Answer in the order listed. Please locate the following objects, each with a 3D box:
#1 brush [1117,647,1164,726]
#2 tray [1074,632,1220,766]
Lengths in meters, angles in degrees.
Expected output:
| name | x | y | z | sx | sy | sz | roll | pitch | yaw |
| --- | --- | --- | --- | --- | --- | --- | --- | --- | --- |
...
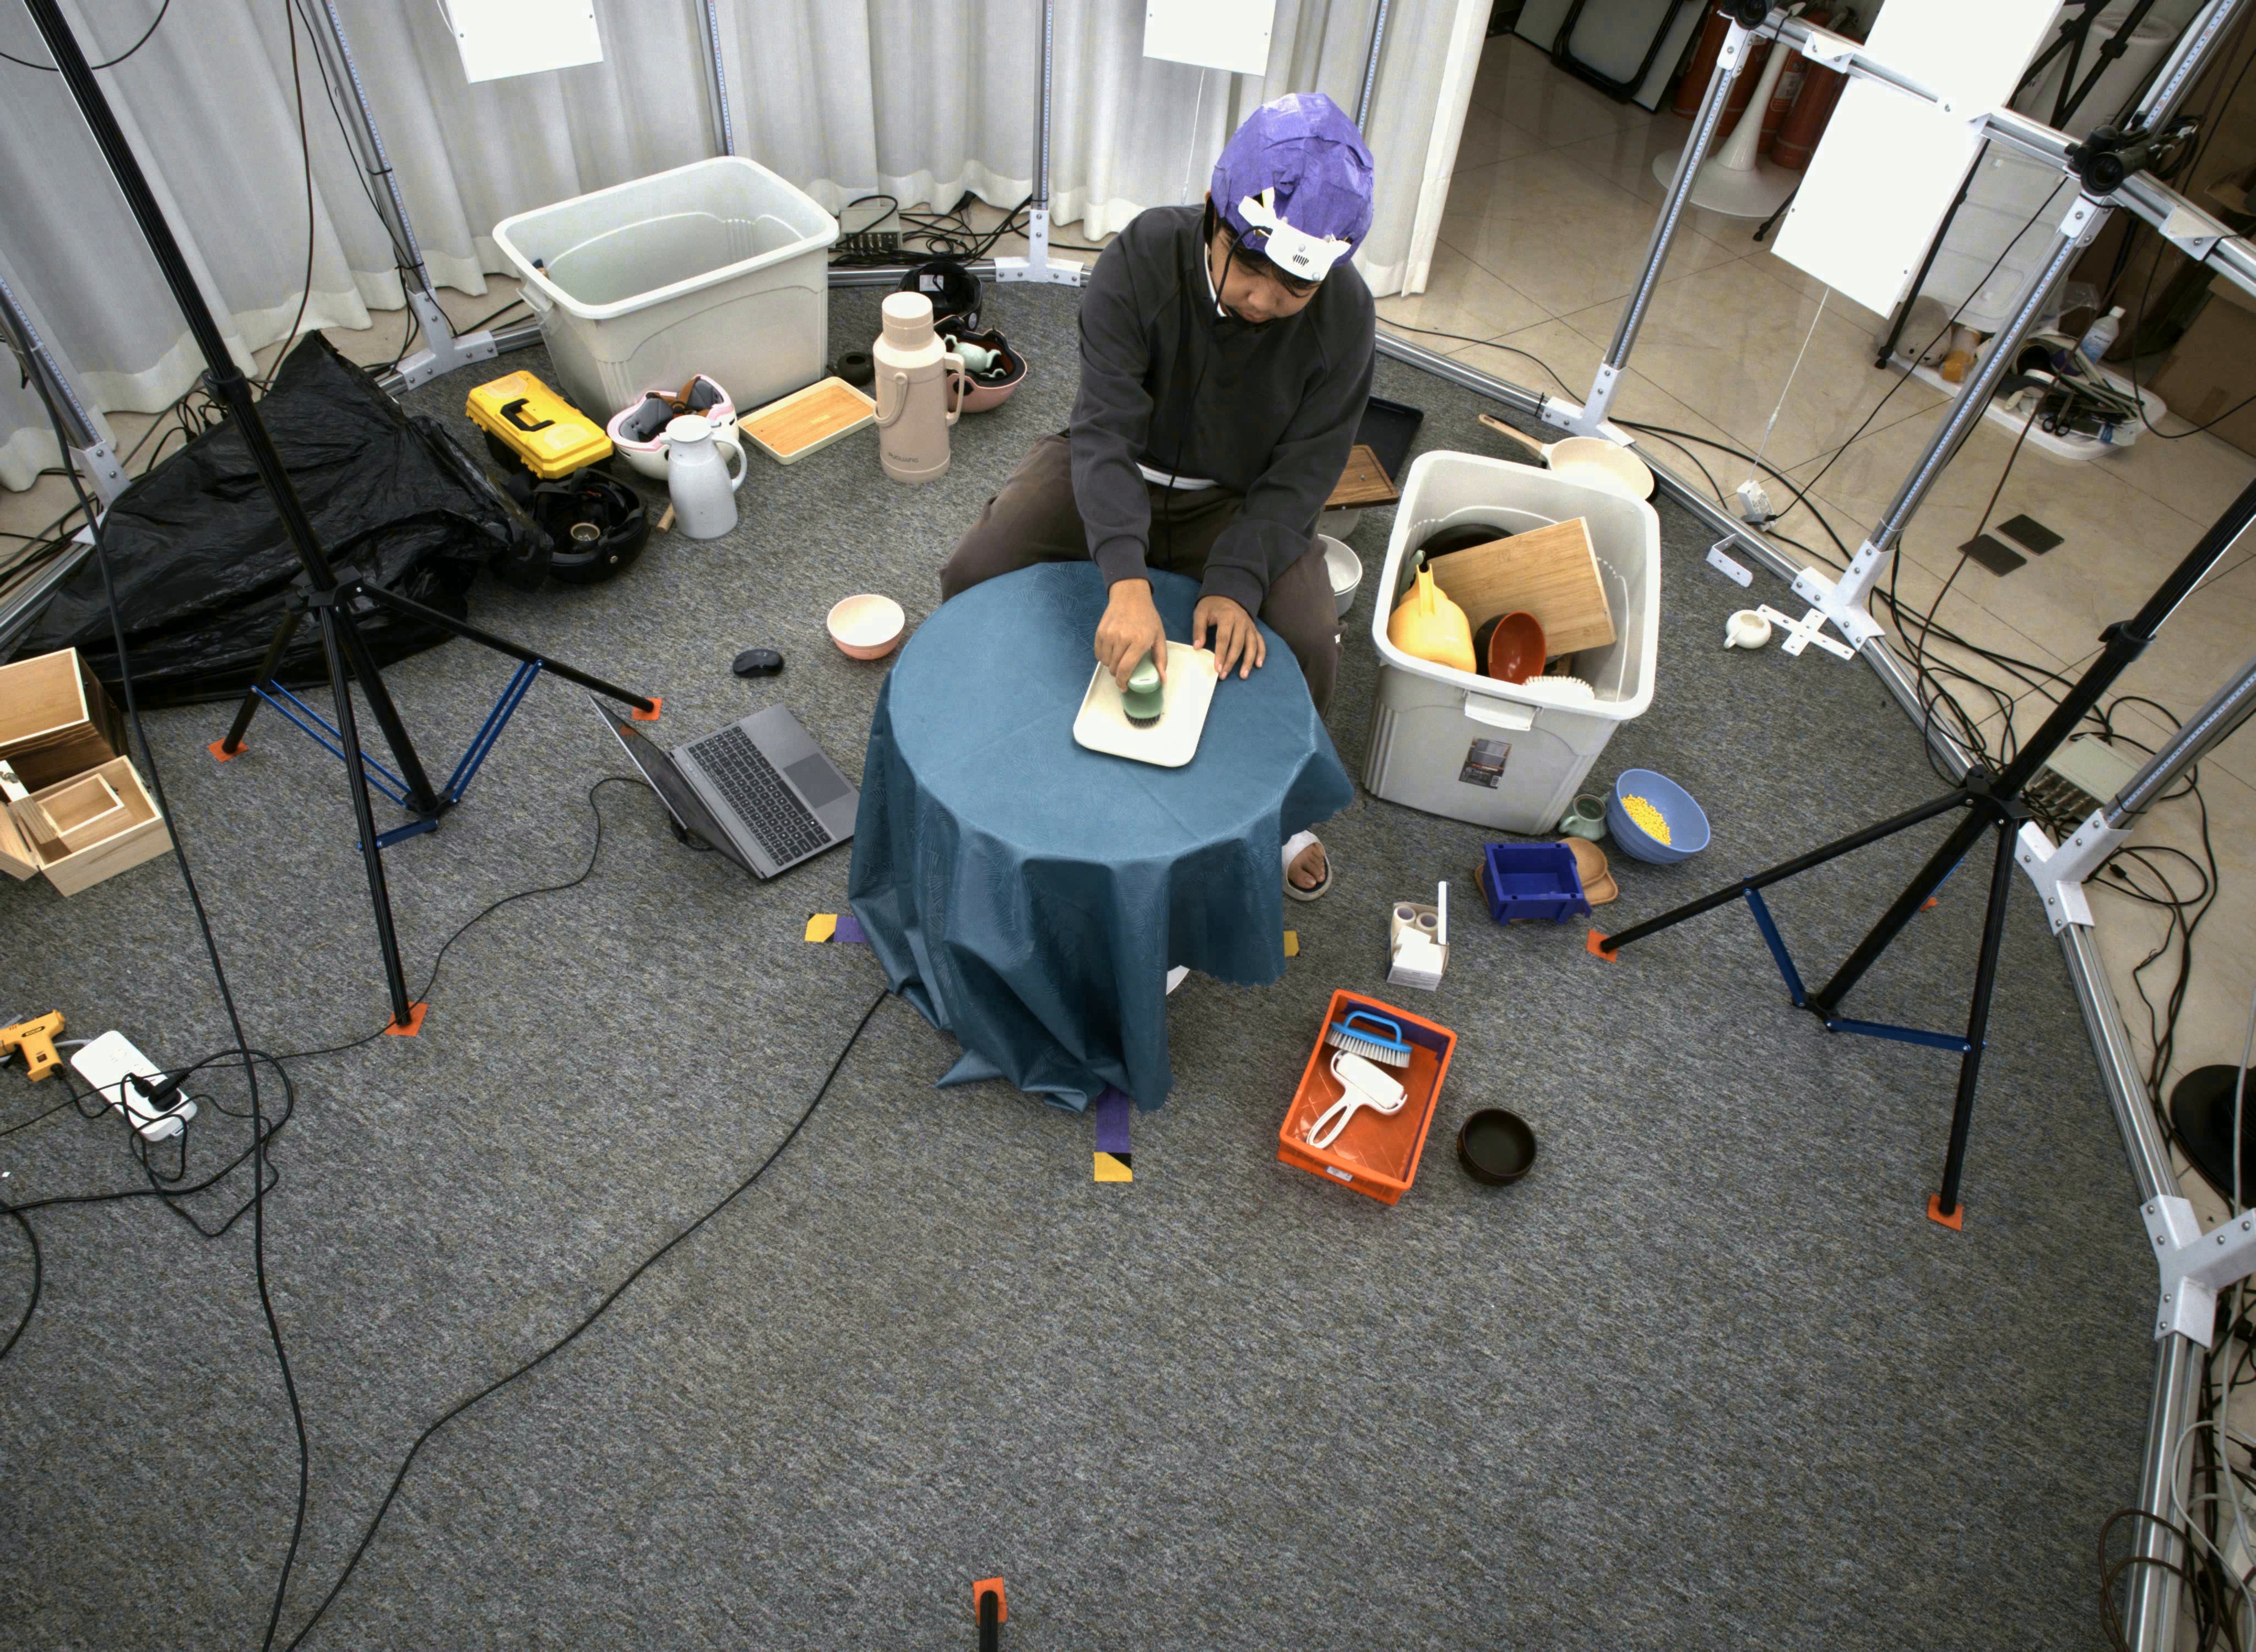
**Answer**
| name | x | y | z | sx | sy | sz | roll | pitch | yaw |
| --- | --- | --- | --- | --- | --- | --- | --- | --- | --- |
| brush | 0.017 | -0.197 | 1.793 | 0.059 | 0.074 | 0.126 | -6 | 34 | -6 |
| tray | 0.029 | -0.181 | 1.813 | 0.171 | 0.017 | 0.245 | 14 | 49 | 7 |
